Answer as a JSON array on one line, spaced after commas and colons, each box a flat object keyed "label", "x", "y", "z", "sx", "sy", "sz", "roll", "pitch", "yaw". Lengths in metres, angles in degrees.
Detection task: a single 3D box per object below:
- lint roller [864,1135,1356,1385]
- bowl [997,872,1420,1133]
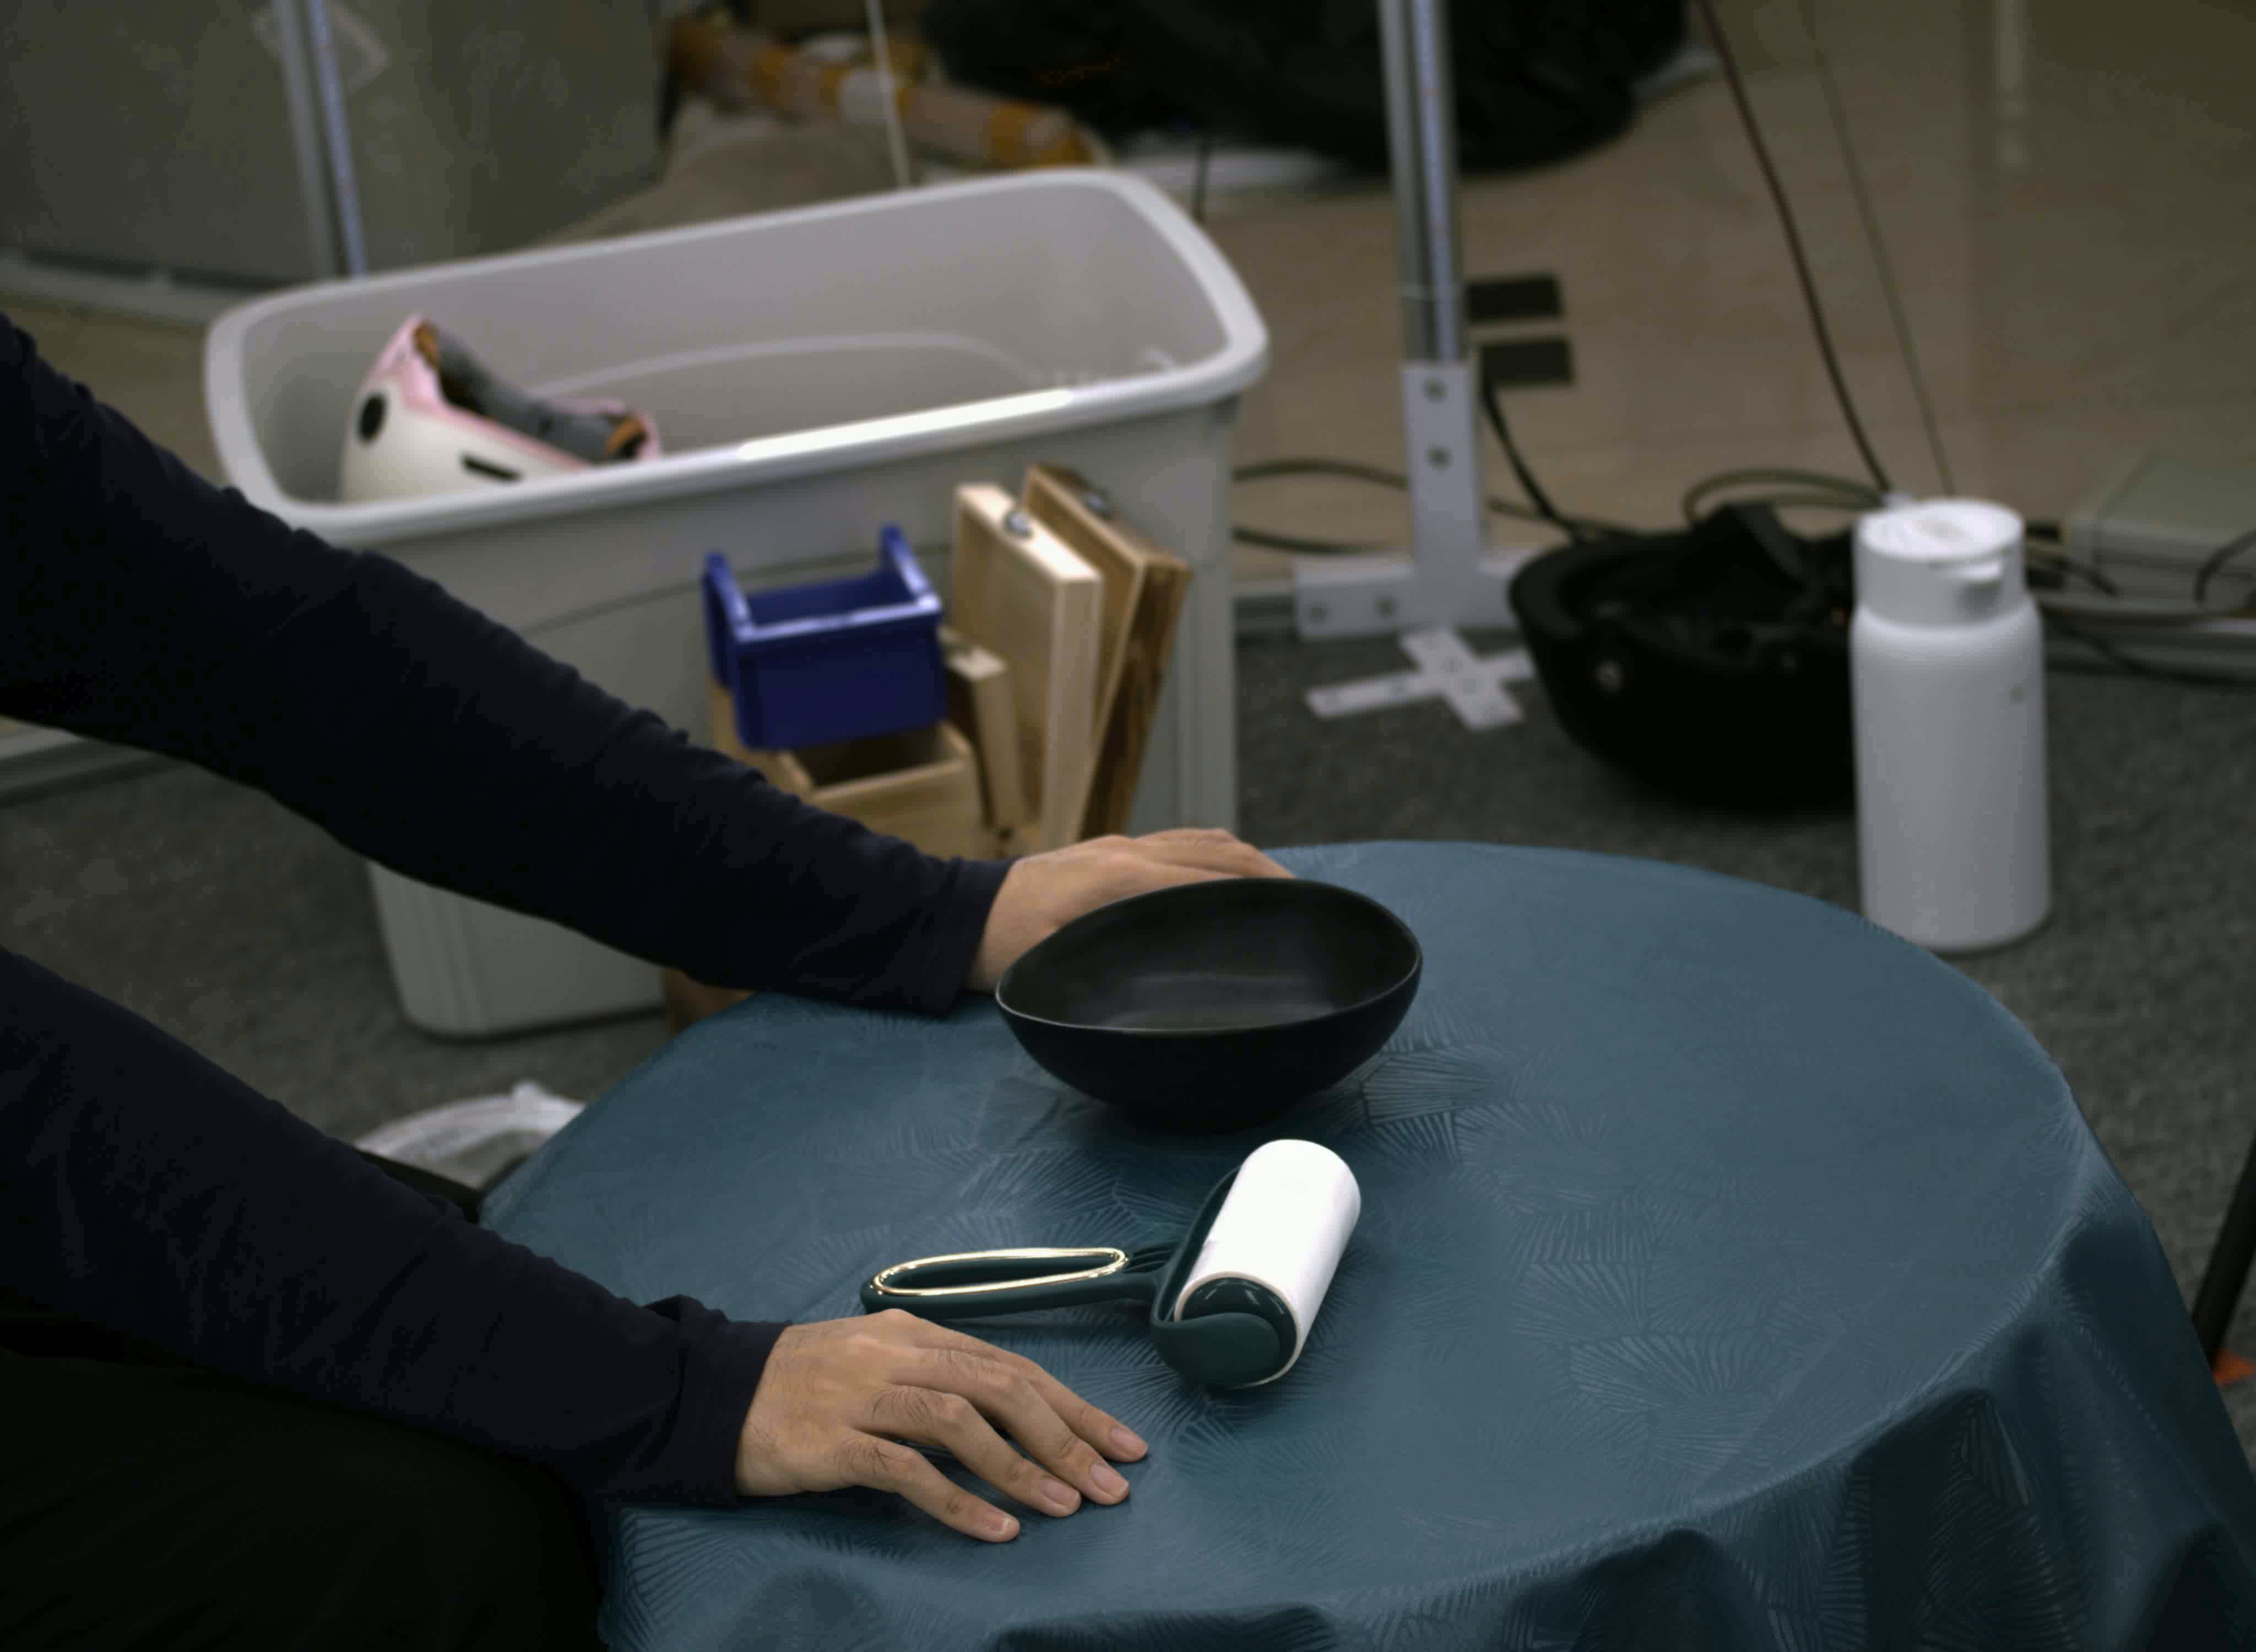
[{"label": "lint roller", "x": -0.014, "y": 0.160, "z": 2.063, "sx": 0.180, "sy": 0.049, "sz": 0.132, "roll": -3, "pitch": 25, "yaw": 16}, {"label": "bowl", "x": 0.032, "y": 0.077, "z": 2.201, "sx": 0.170, "sy": 0.068, "sz": 0.135, "roll": -1, "pitch": 25, "yaw": 15}]
